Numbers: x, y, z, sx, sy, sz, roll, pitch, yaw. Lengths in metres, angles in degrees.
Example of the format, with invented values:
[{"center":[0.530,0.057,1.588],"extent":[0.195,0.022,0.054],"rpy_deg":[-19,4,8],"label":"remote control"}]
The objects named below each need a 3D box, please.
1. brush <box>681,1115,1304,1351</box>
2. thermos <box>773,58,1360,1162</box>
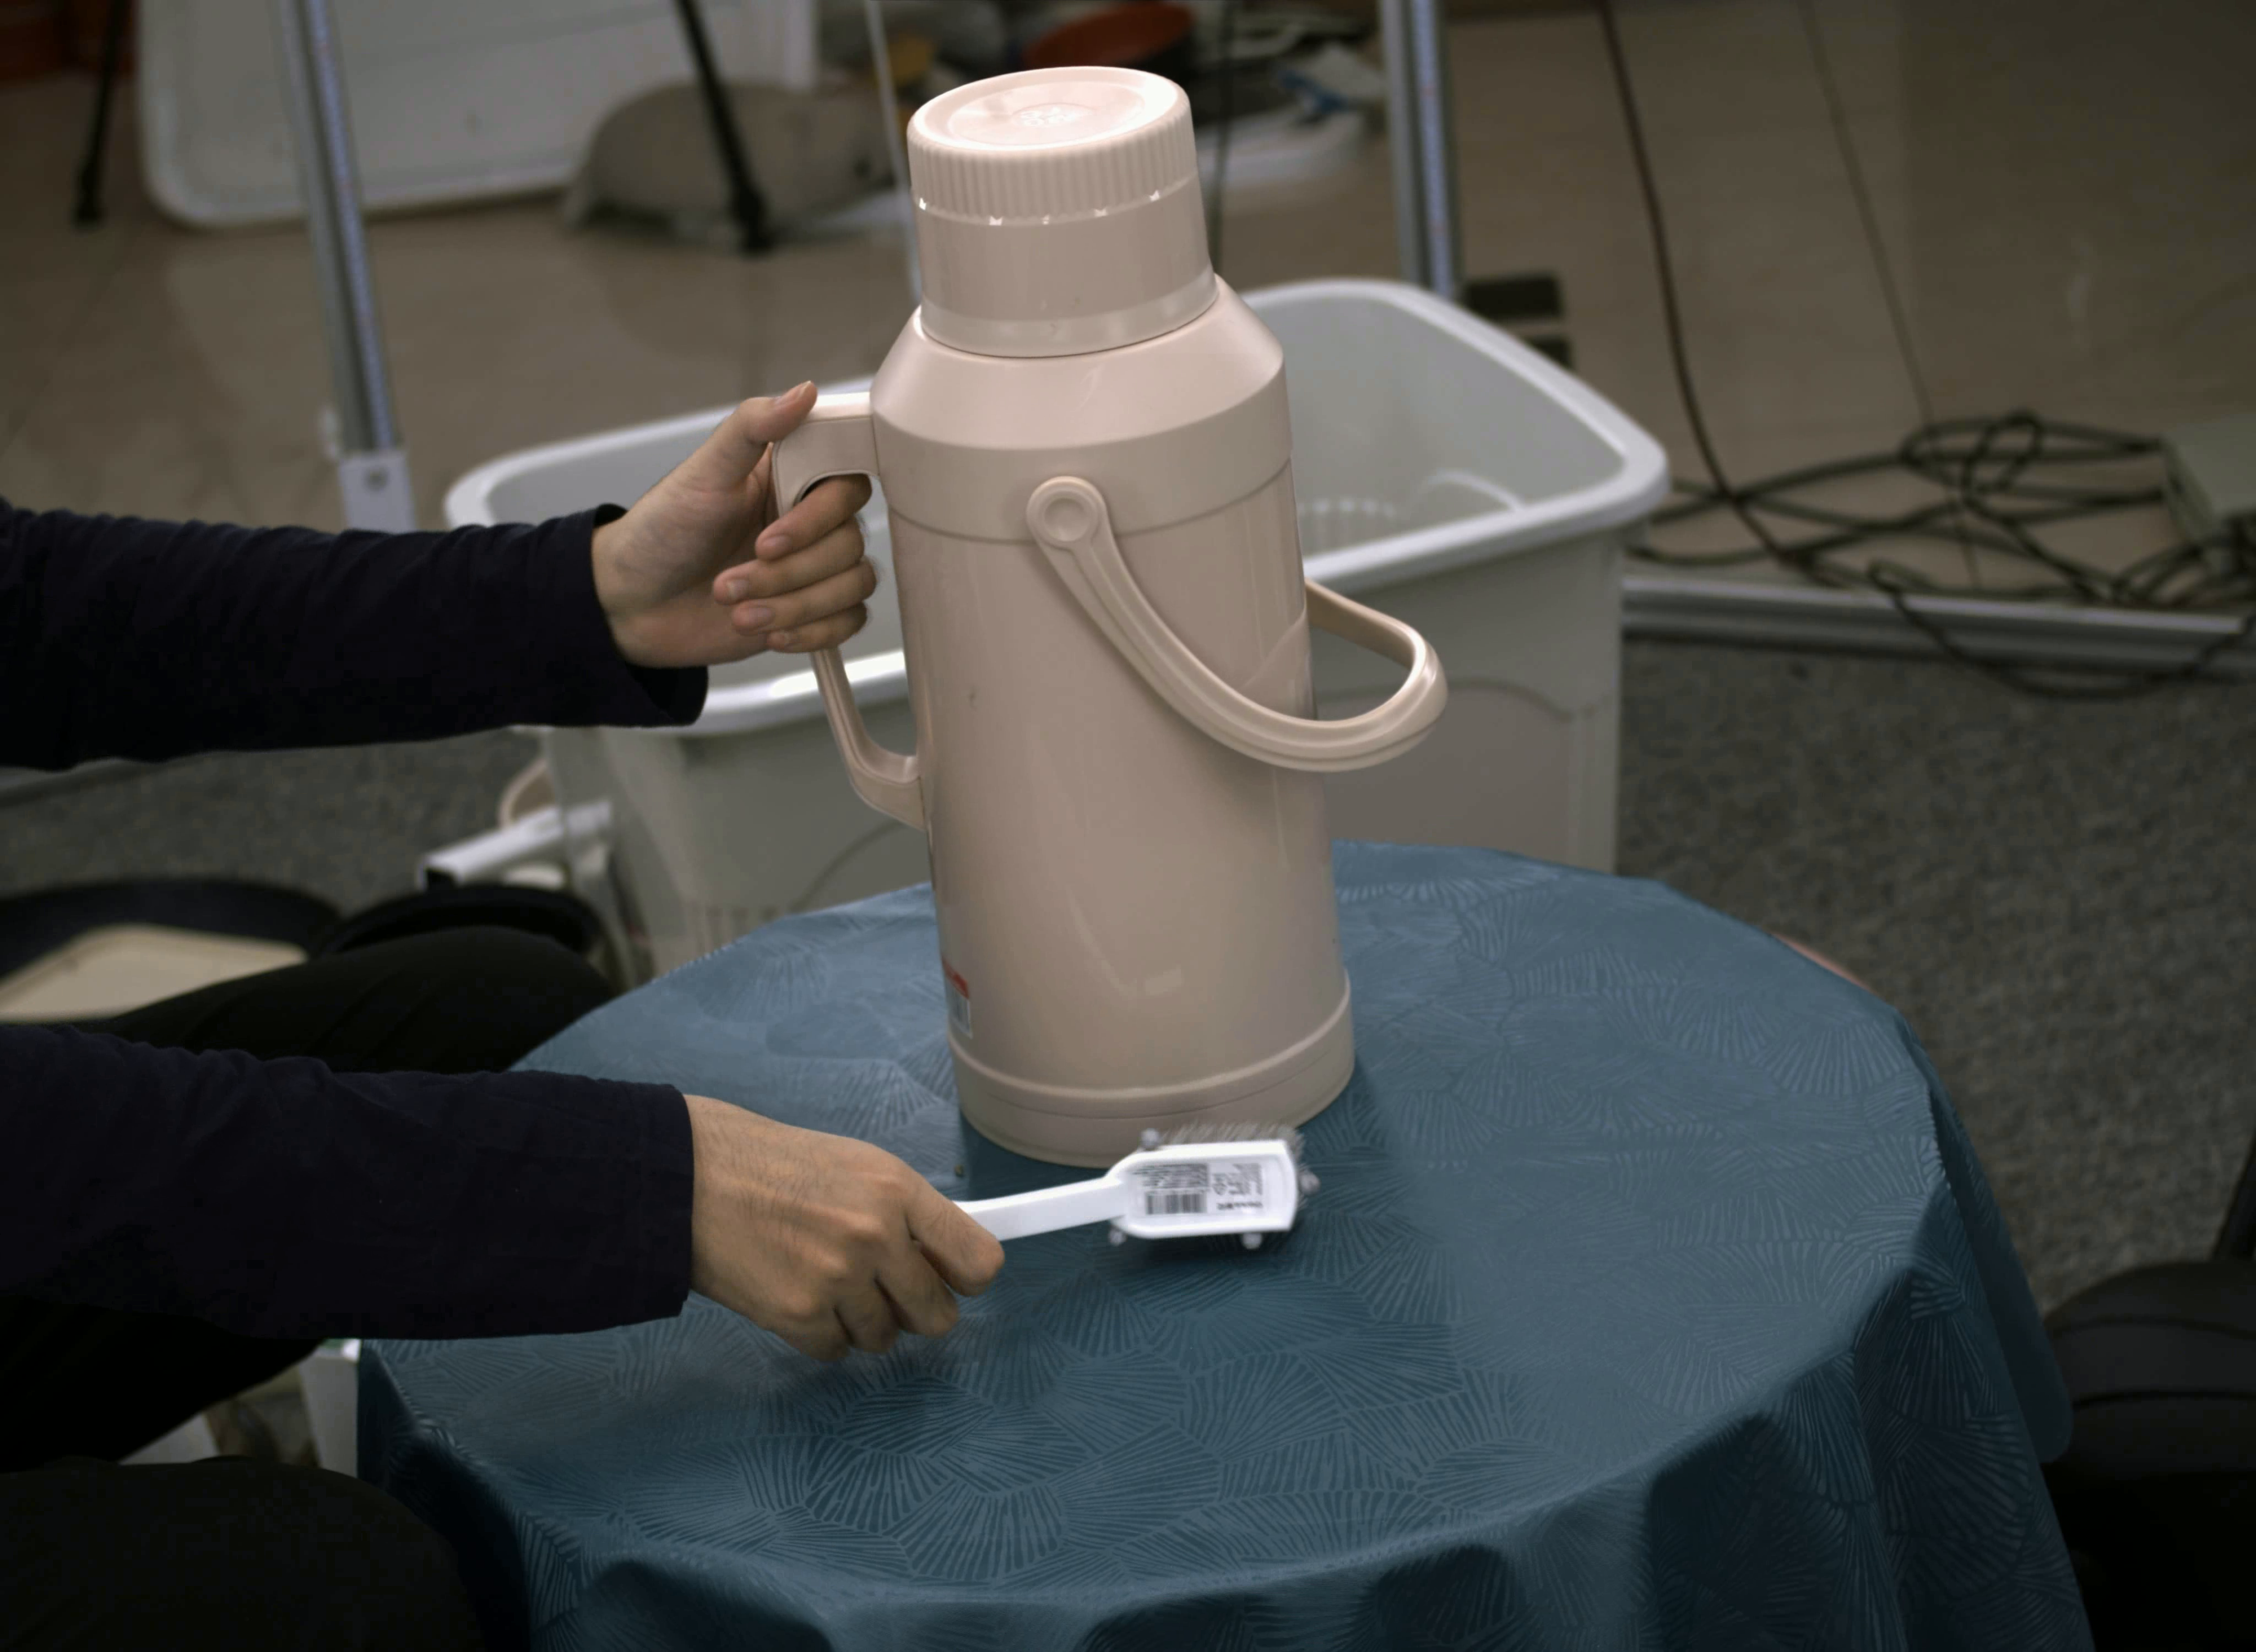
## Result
[{"center":[-0.049,0.147,2.071],"extent":[0.243,0.035,0.049],"rpy_deg":[-12,25,-13],"label":"brush"},{"center":[-0.022,-0.082,2.150],"extent":[0.207,0.413,0.172],"rpy_deg":[-4,28,5],"label":"thermos"}]
